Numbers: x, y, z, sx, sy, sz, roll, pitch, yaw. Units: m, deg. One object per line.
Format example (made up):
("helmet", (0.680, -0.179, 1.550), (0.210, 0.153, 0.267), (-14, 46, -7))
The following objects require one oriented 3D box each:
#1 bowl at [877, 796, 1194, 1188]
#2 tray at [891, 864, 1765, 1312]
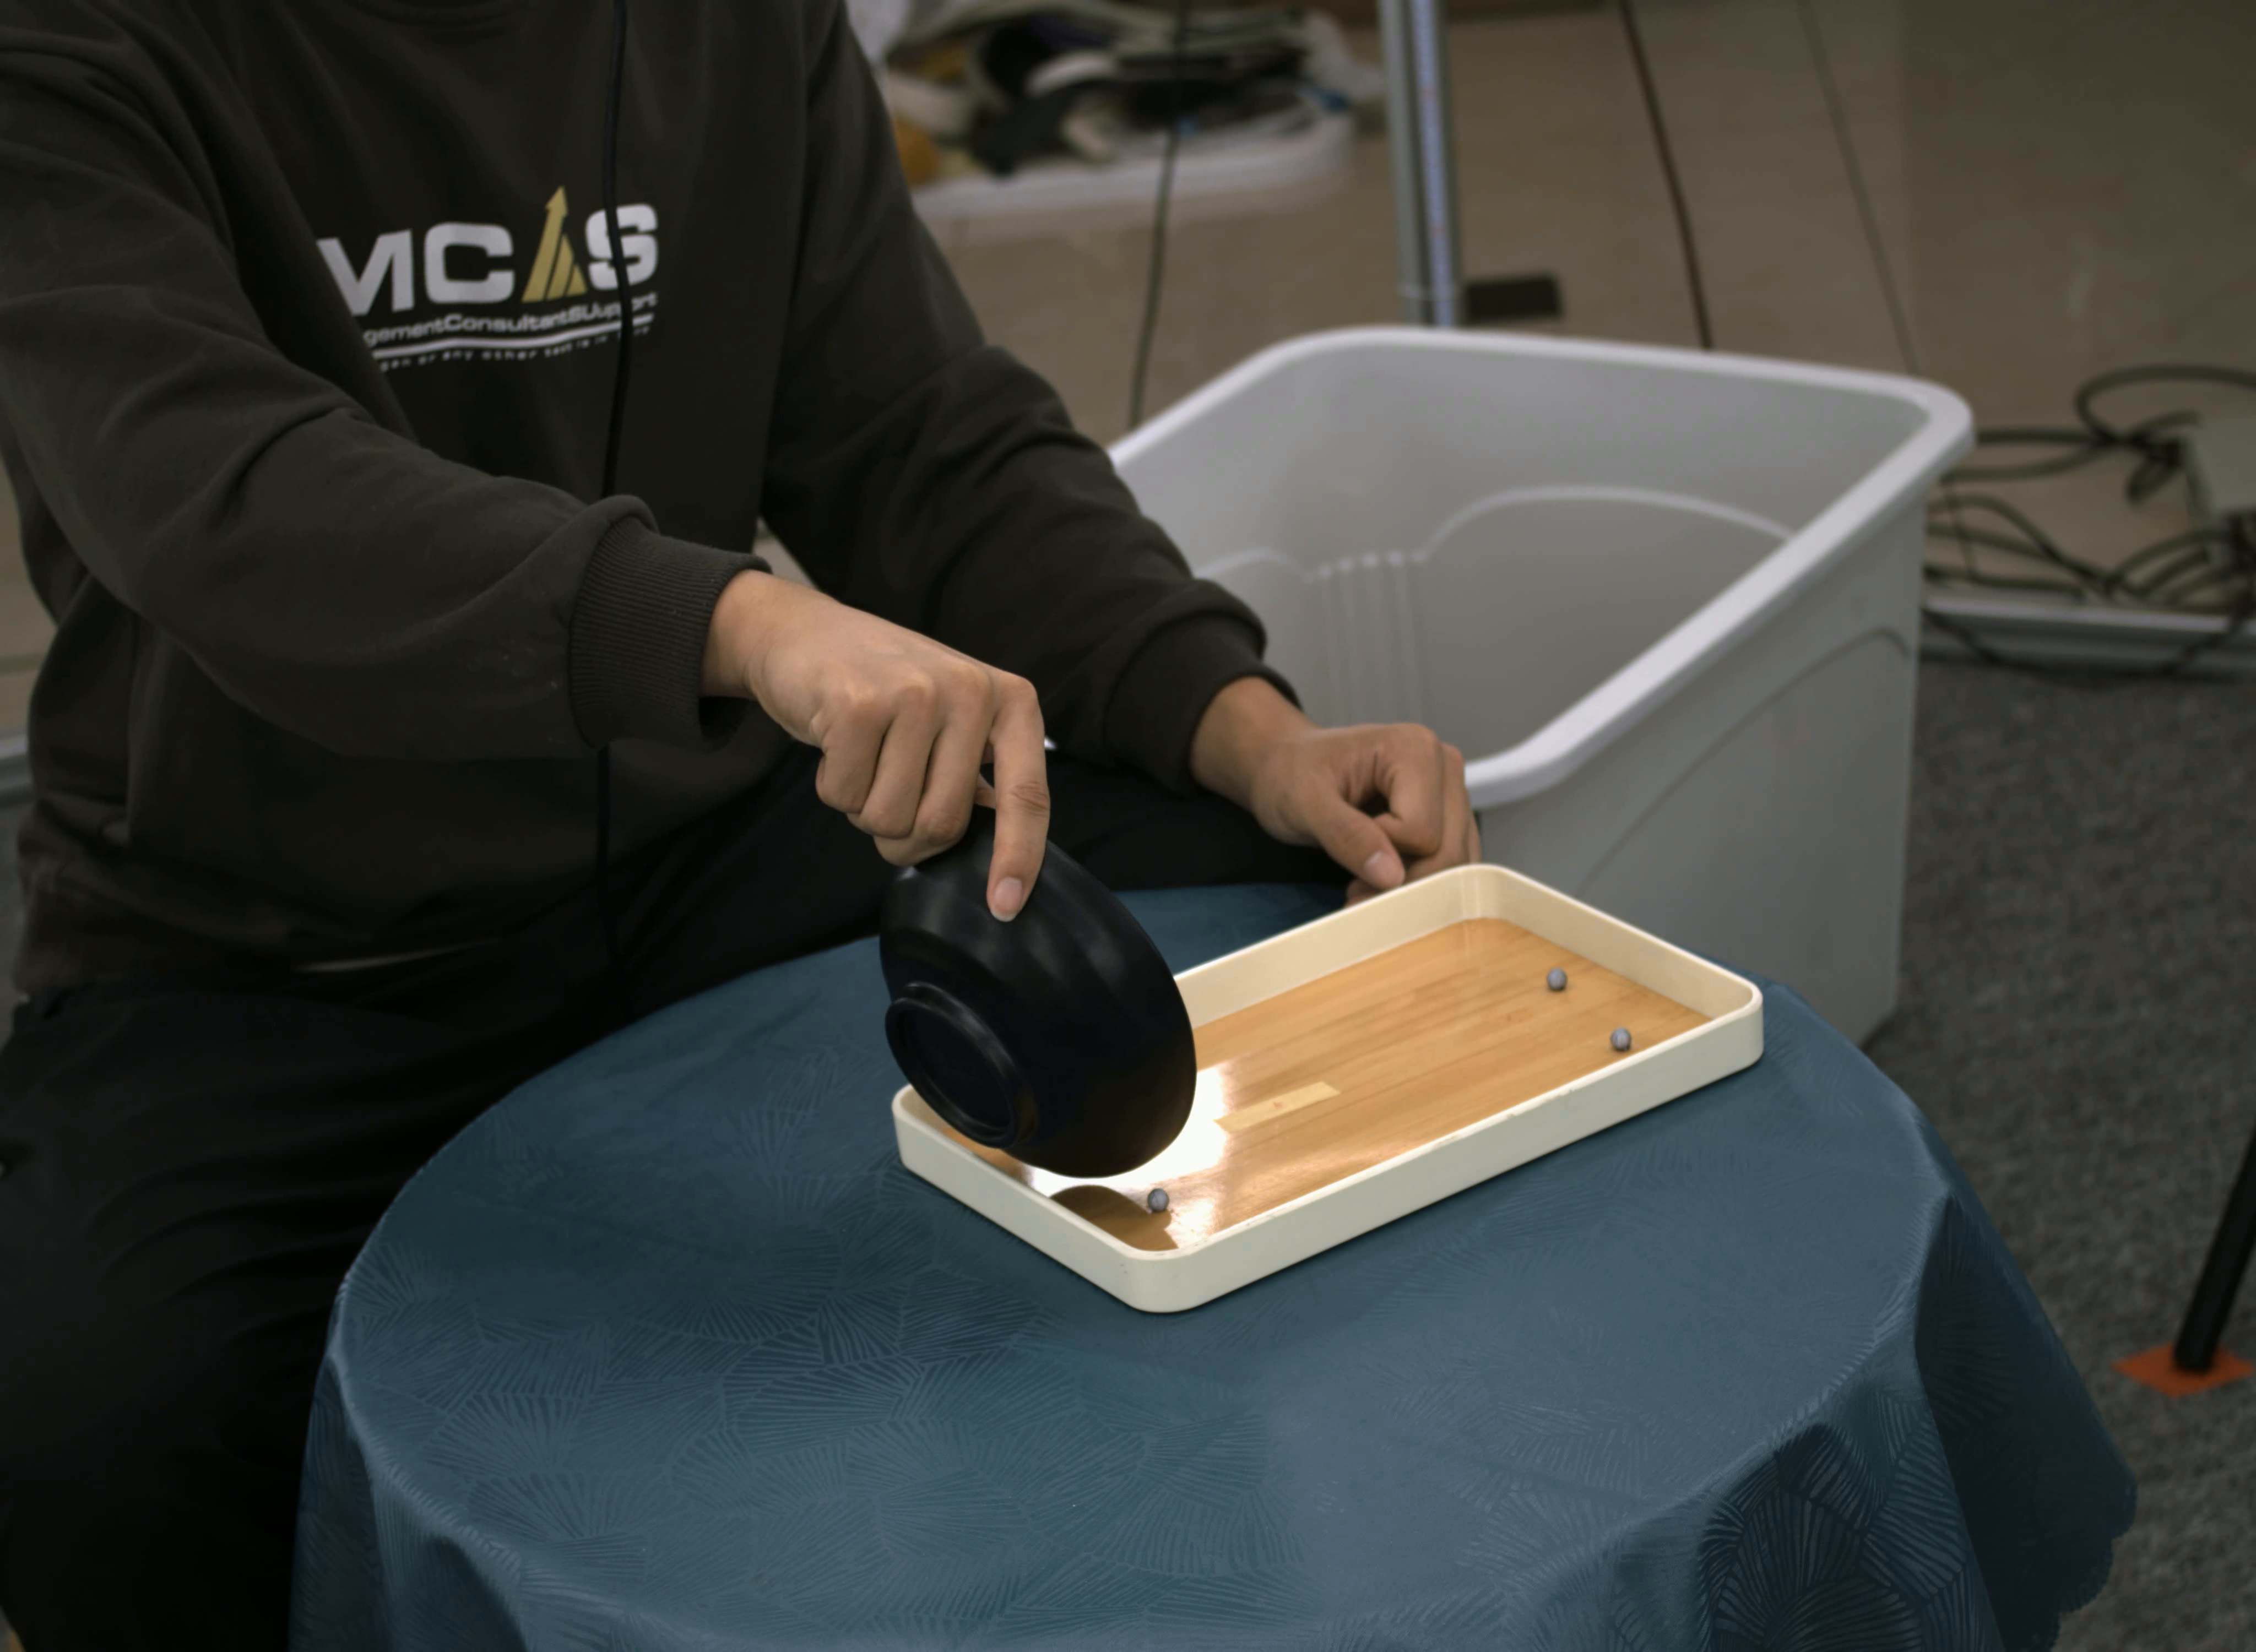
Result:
("bowl", (-0.047, 0.072, 2.091), (0.136, 0.173, 0.066), (24, 52, 40))
("tray", (0.078, 0.097, 2.187), (0.298, 0.028, 0.190), (-21, 28, -29))
